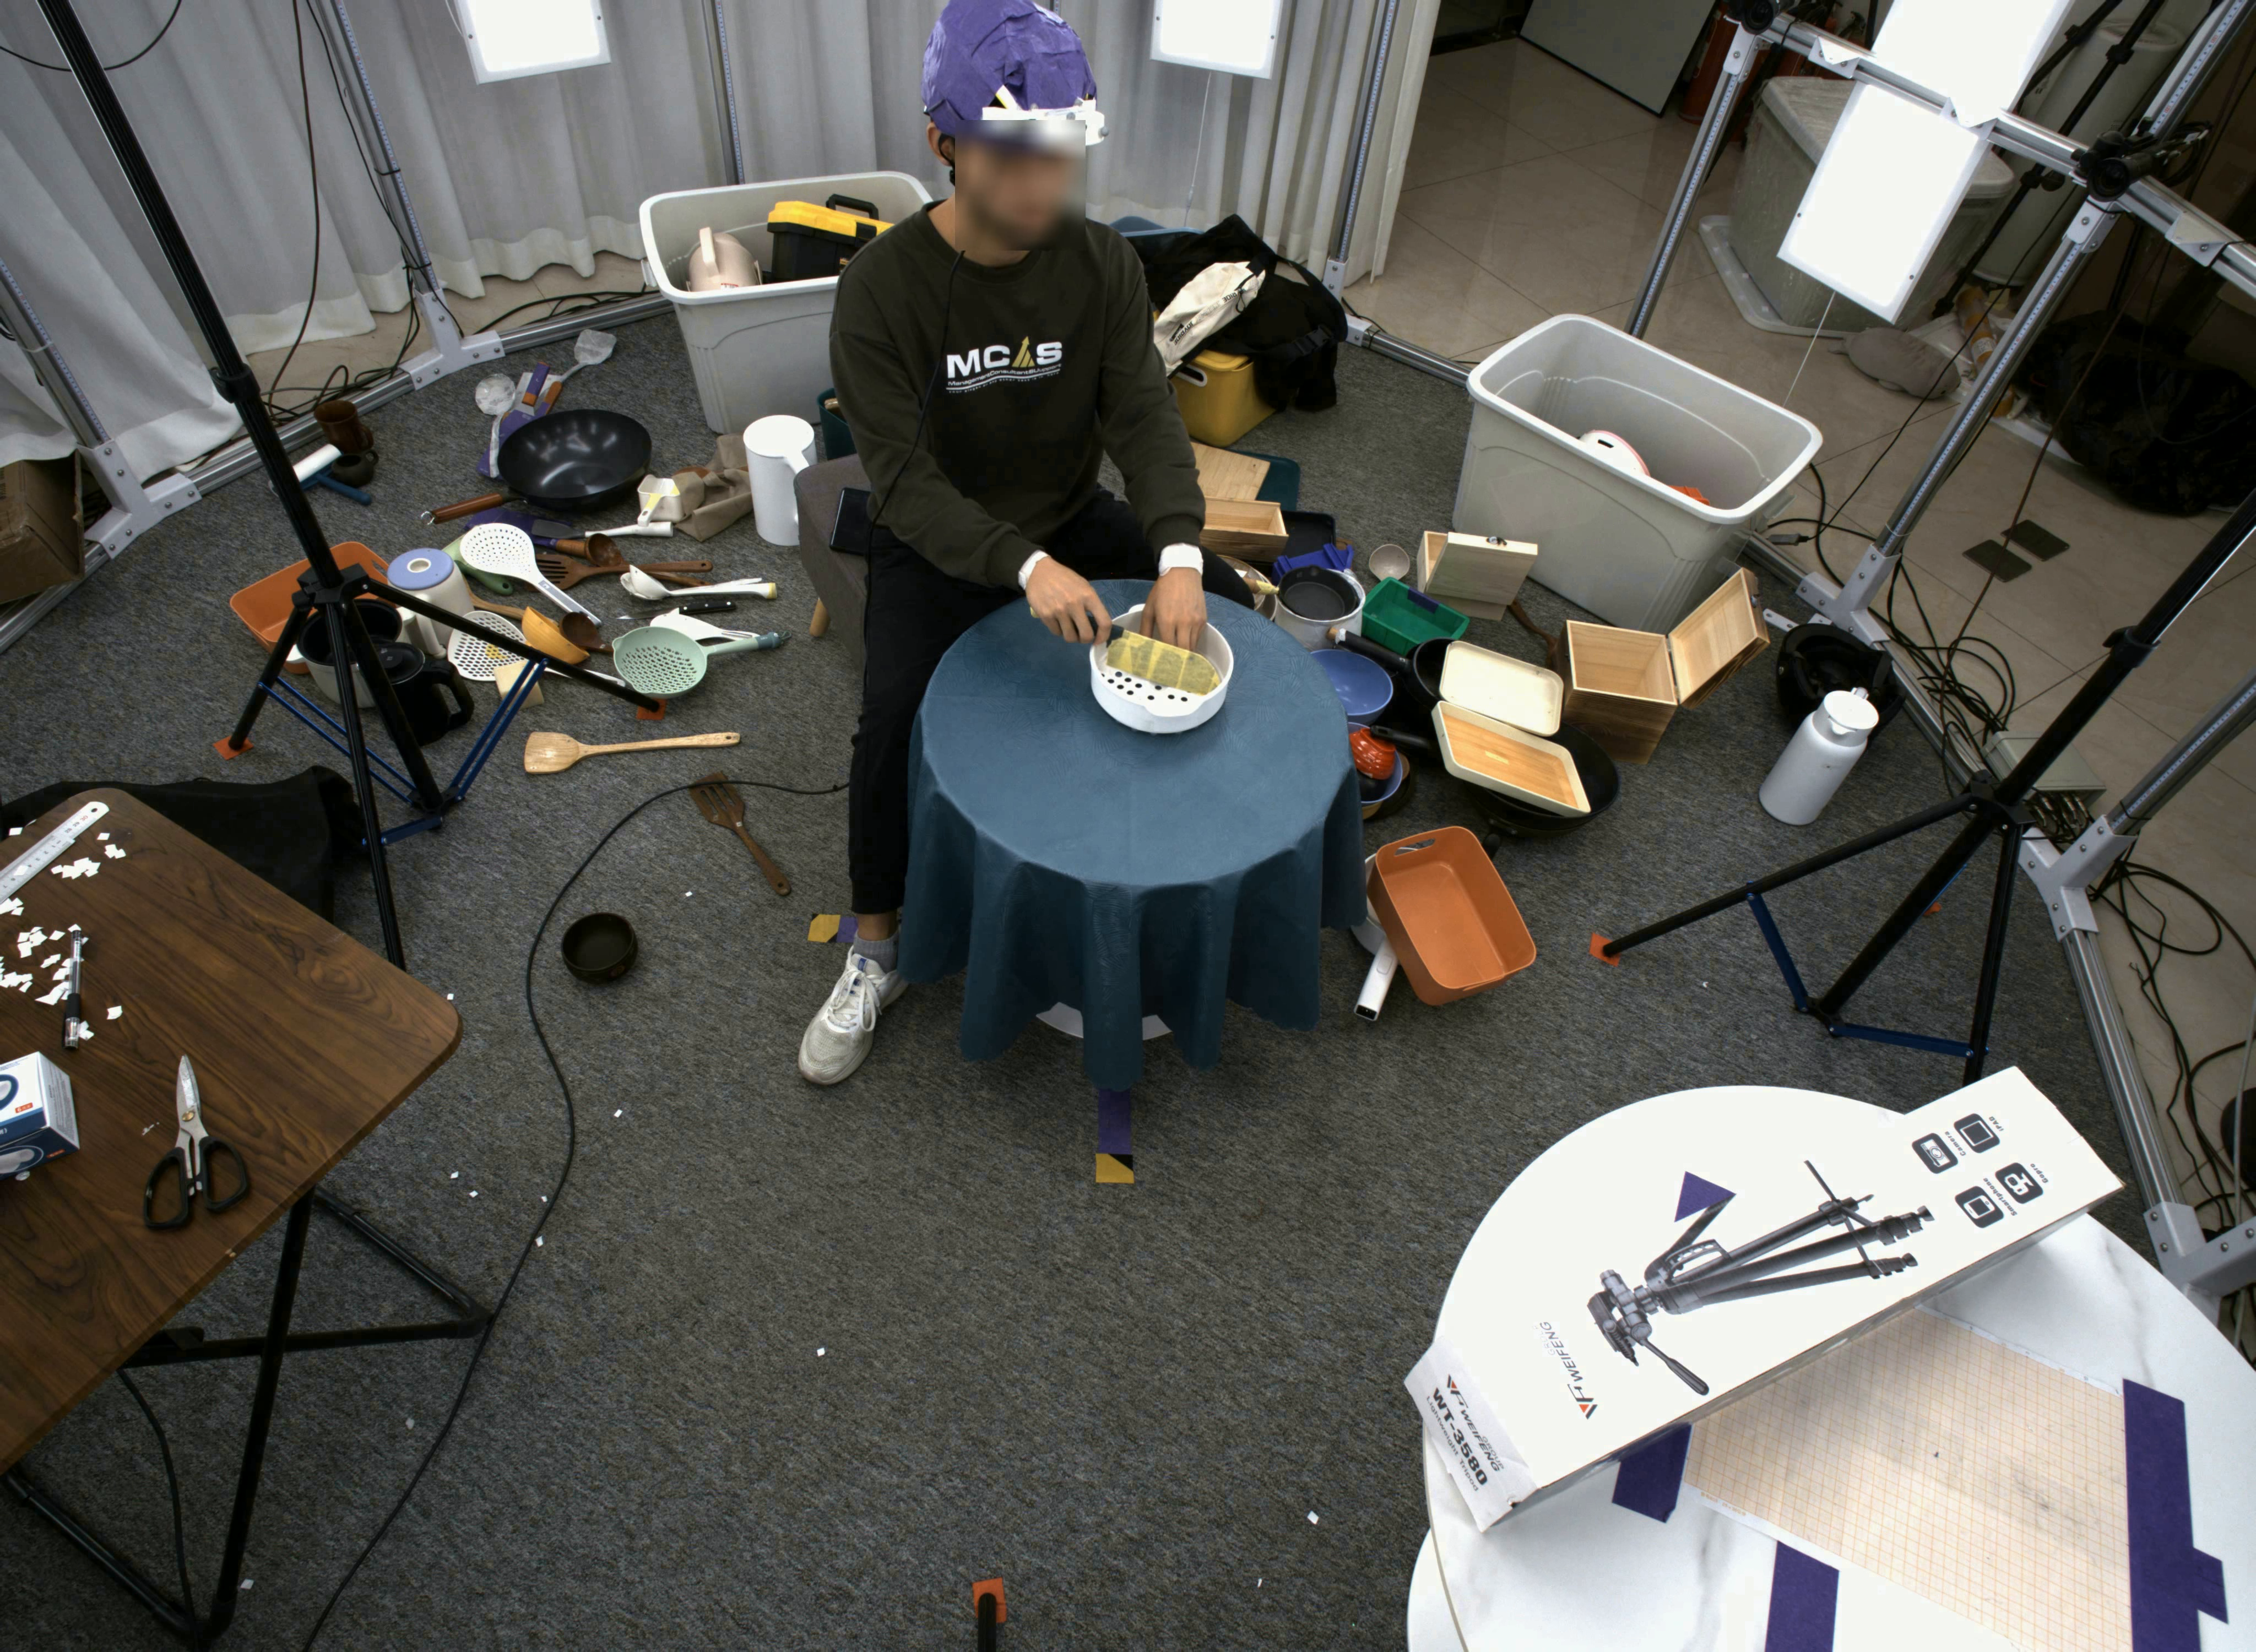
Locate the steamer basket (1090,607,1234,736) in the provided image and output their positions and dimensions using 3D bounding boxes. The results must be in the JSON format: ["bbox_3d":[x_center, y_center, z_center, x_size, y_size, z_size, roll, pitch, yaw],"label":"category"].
[{"bbox_3d":[0.046,-0.215,1.813,0.201,0.067,0.236,-2,48,-7],"label":"steamer basket"}]

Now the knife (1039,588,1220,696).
[{"bbox_3d":[0.002,-0.257,1.806,0.290,0.079,0.028,27,44,5],"label":"knife"}]
